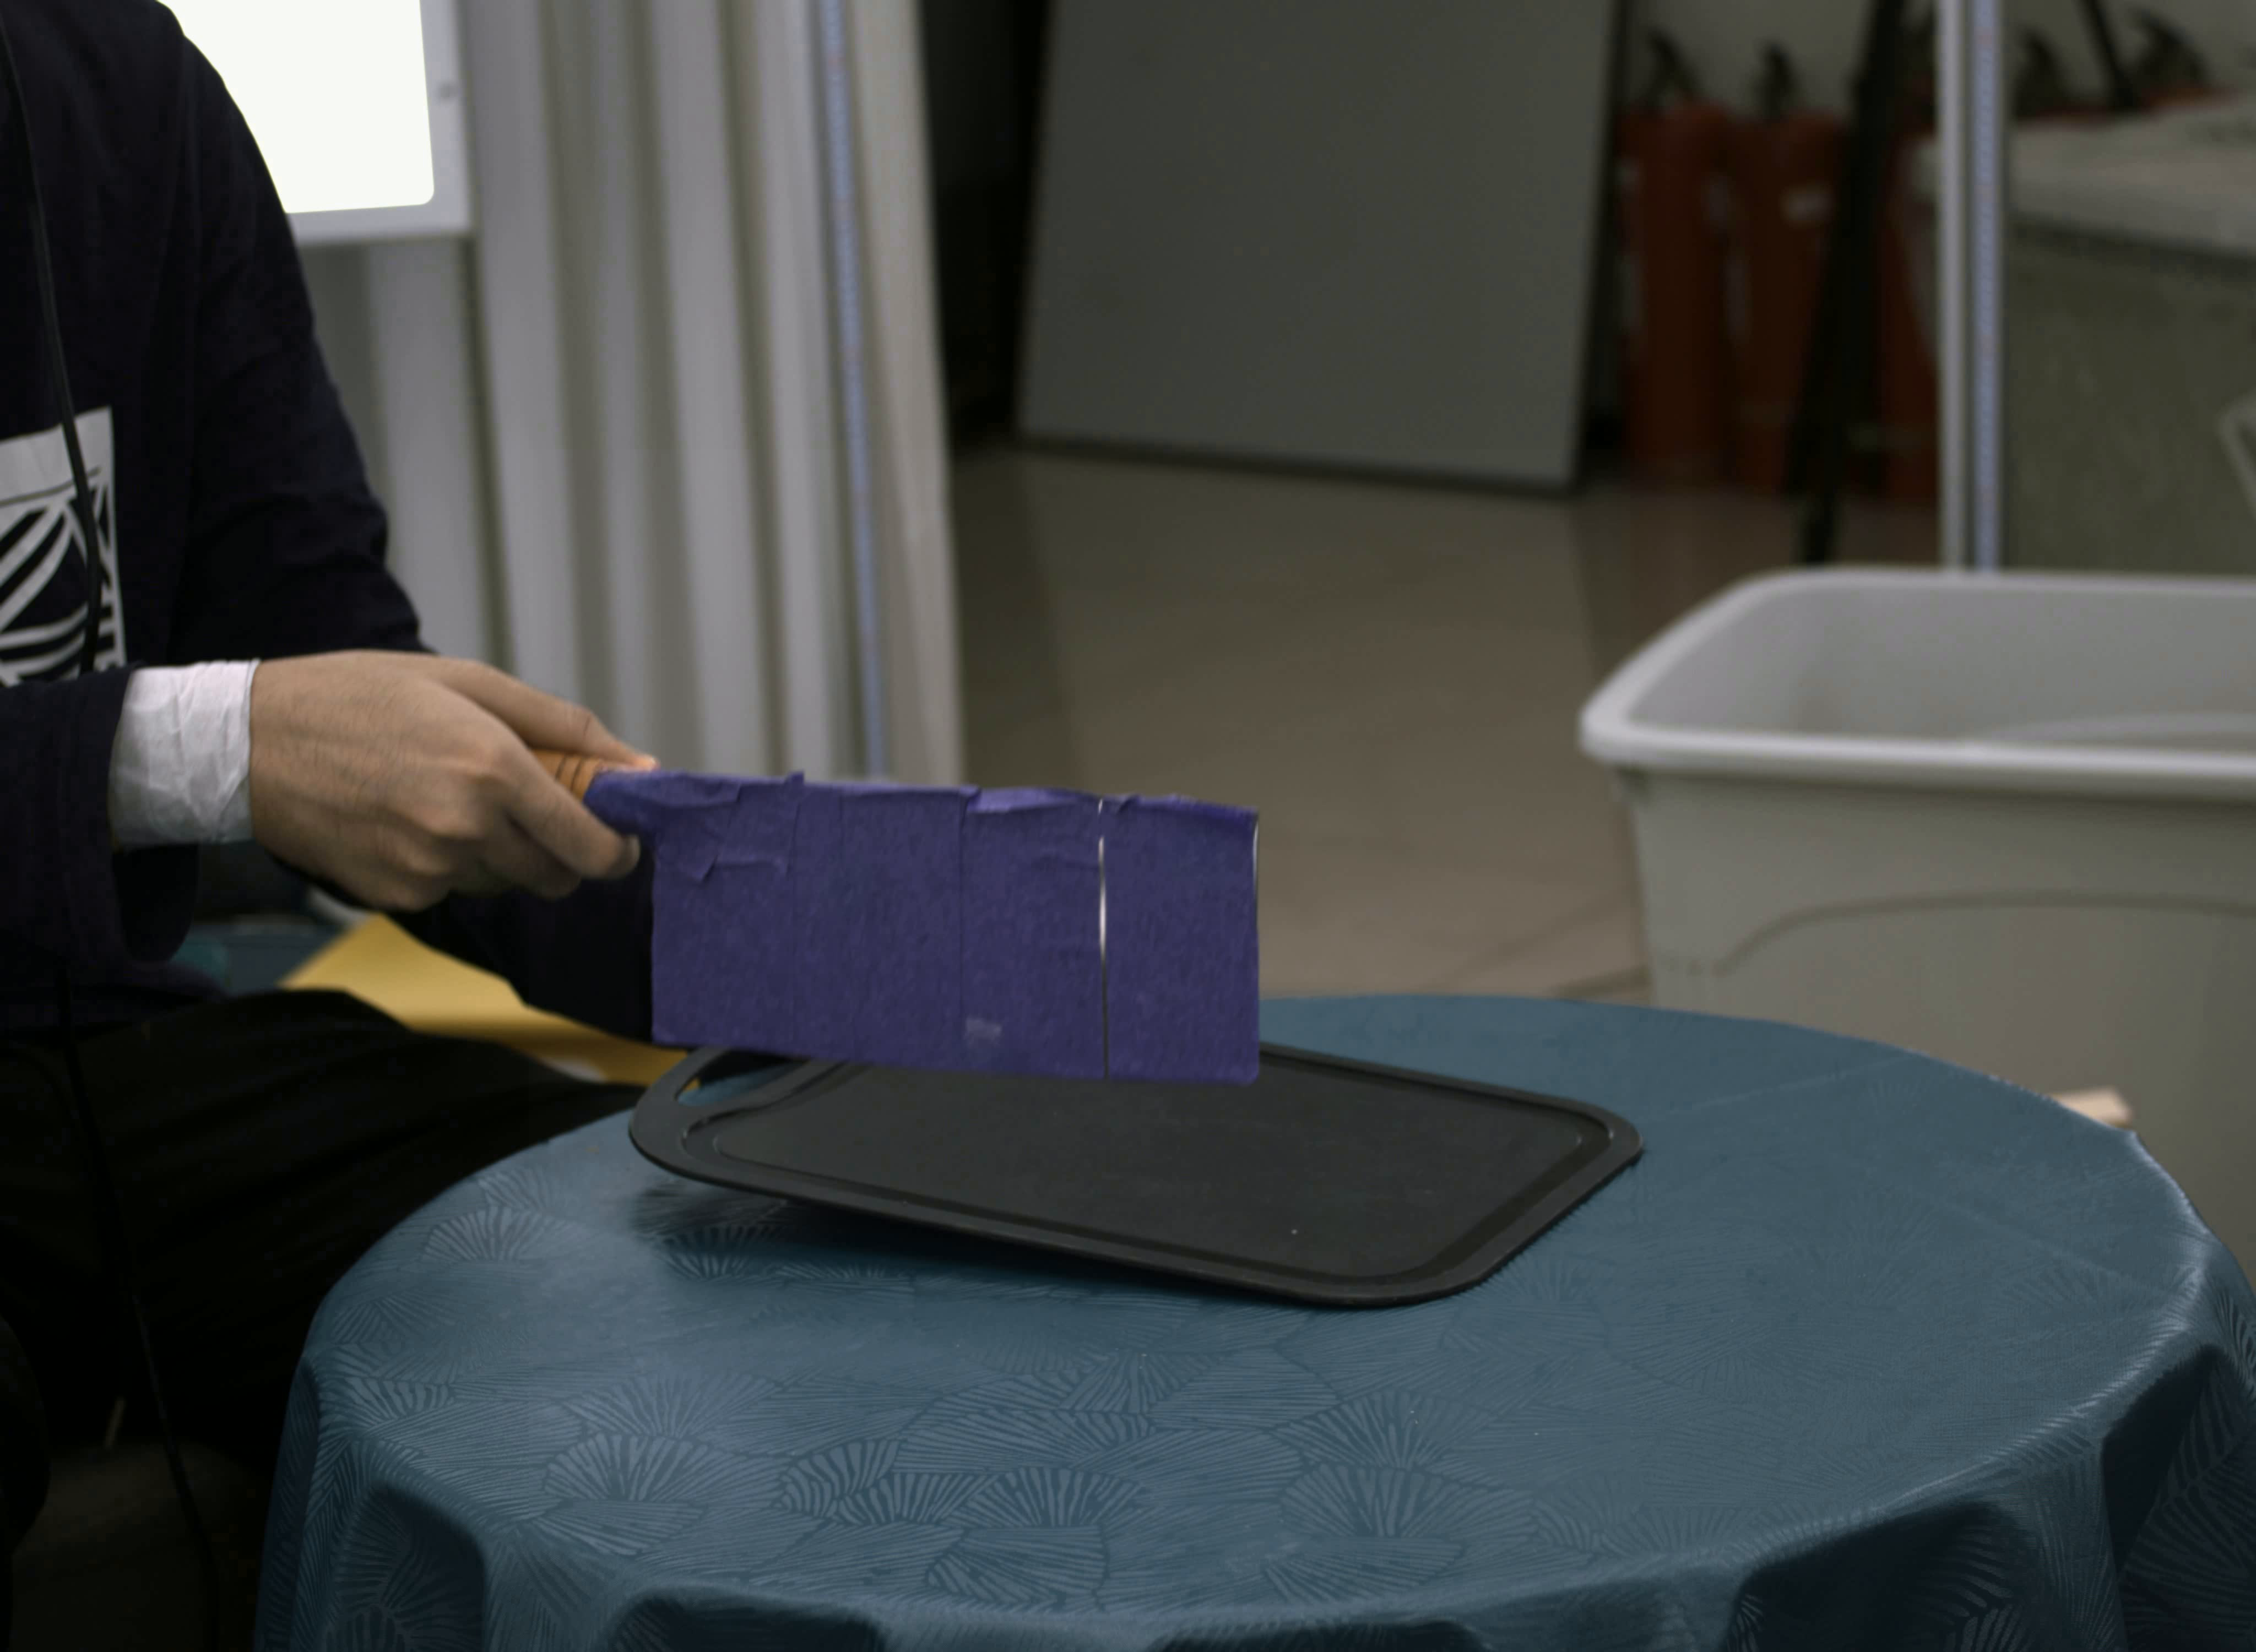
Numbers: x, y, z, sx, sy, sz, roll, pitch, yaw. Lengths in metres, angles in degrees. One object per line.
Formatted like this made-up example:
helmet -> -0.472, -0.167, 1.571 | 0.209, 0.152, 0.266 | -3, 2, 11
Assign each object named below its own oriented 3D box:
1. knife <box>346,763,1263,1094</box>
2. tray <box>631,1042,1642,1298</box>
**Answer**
knife -> -0.106, 0.030, 1.713 | 0.315, 0.105, 0.032 | 2, 3, 23
tray -> -0.004, 0.102, 1.787 | 0.326, 0.010, 0.208 | 8, 18, 27
